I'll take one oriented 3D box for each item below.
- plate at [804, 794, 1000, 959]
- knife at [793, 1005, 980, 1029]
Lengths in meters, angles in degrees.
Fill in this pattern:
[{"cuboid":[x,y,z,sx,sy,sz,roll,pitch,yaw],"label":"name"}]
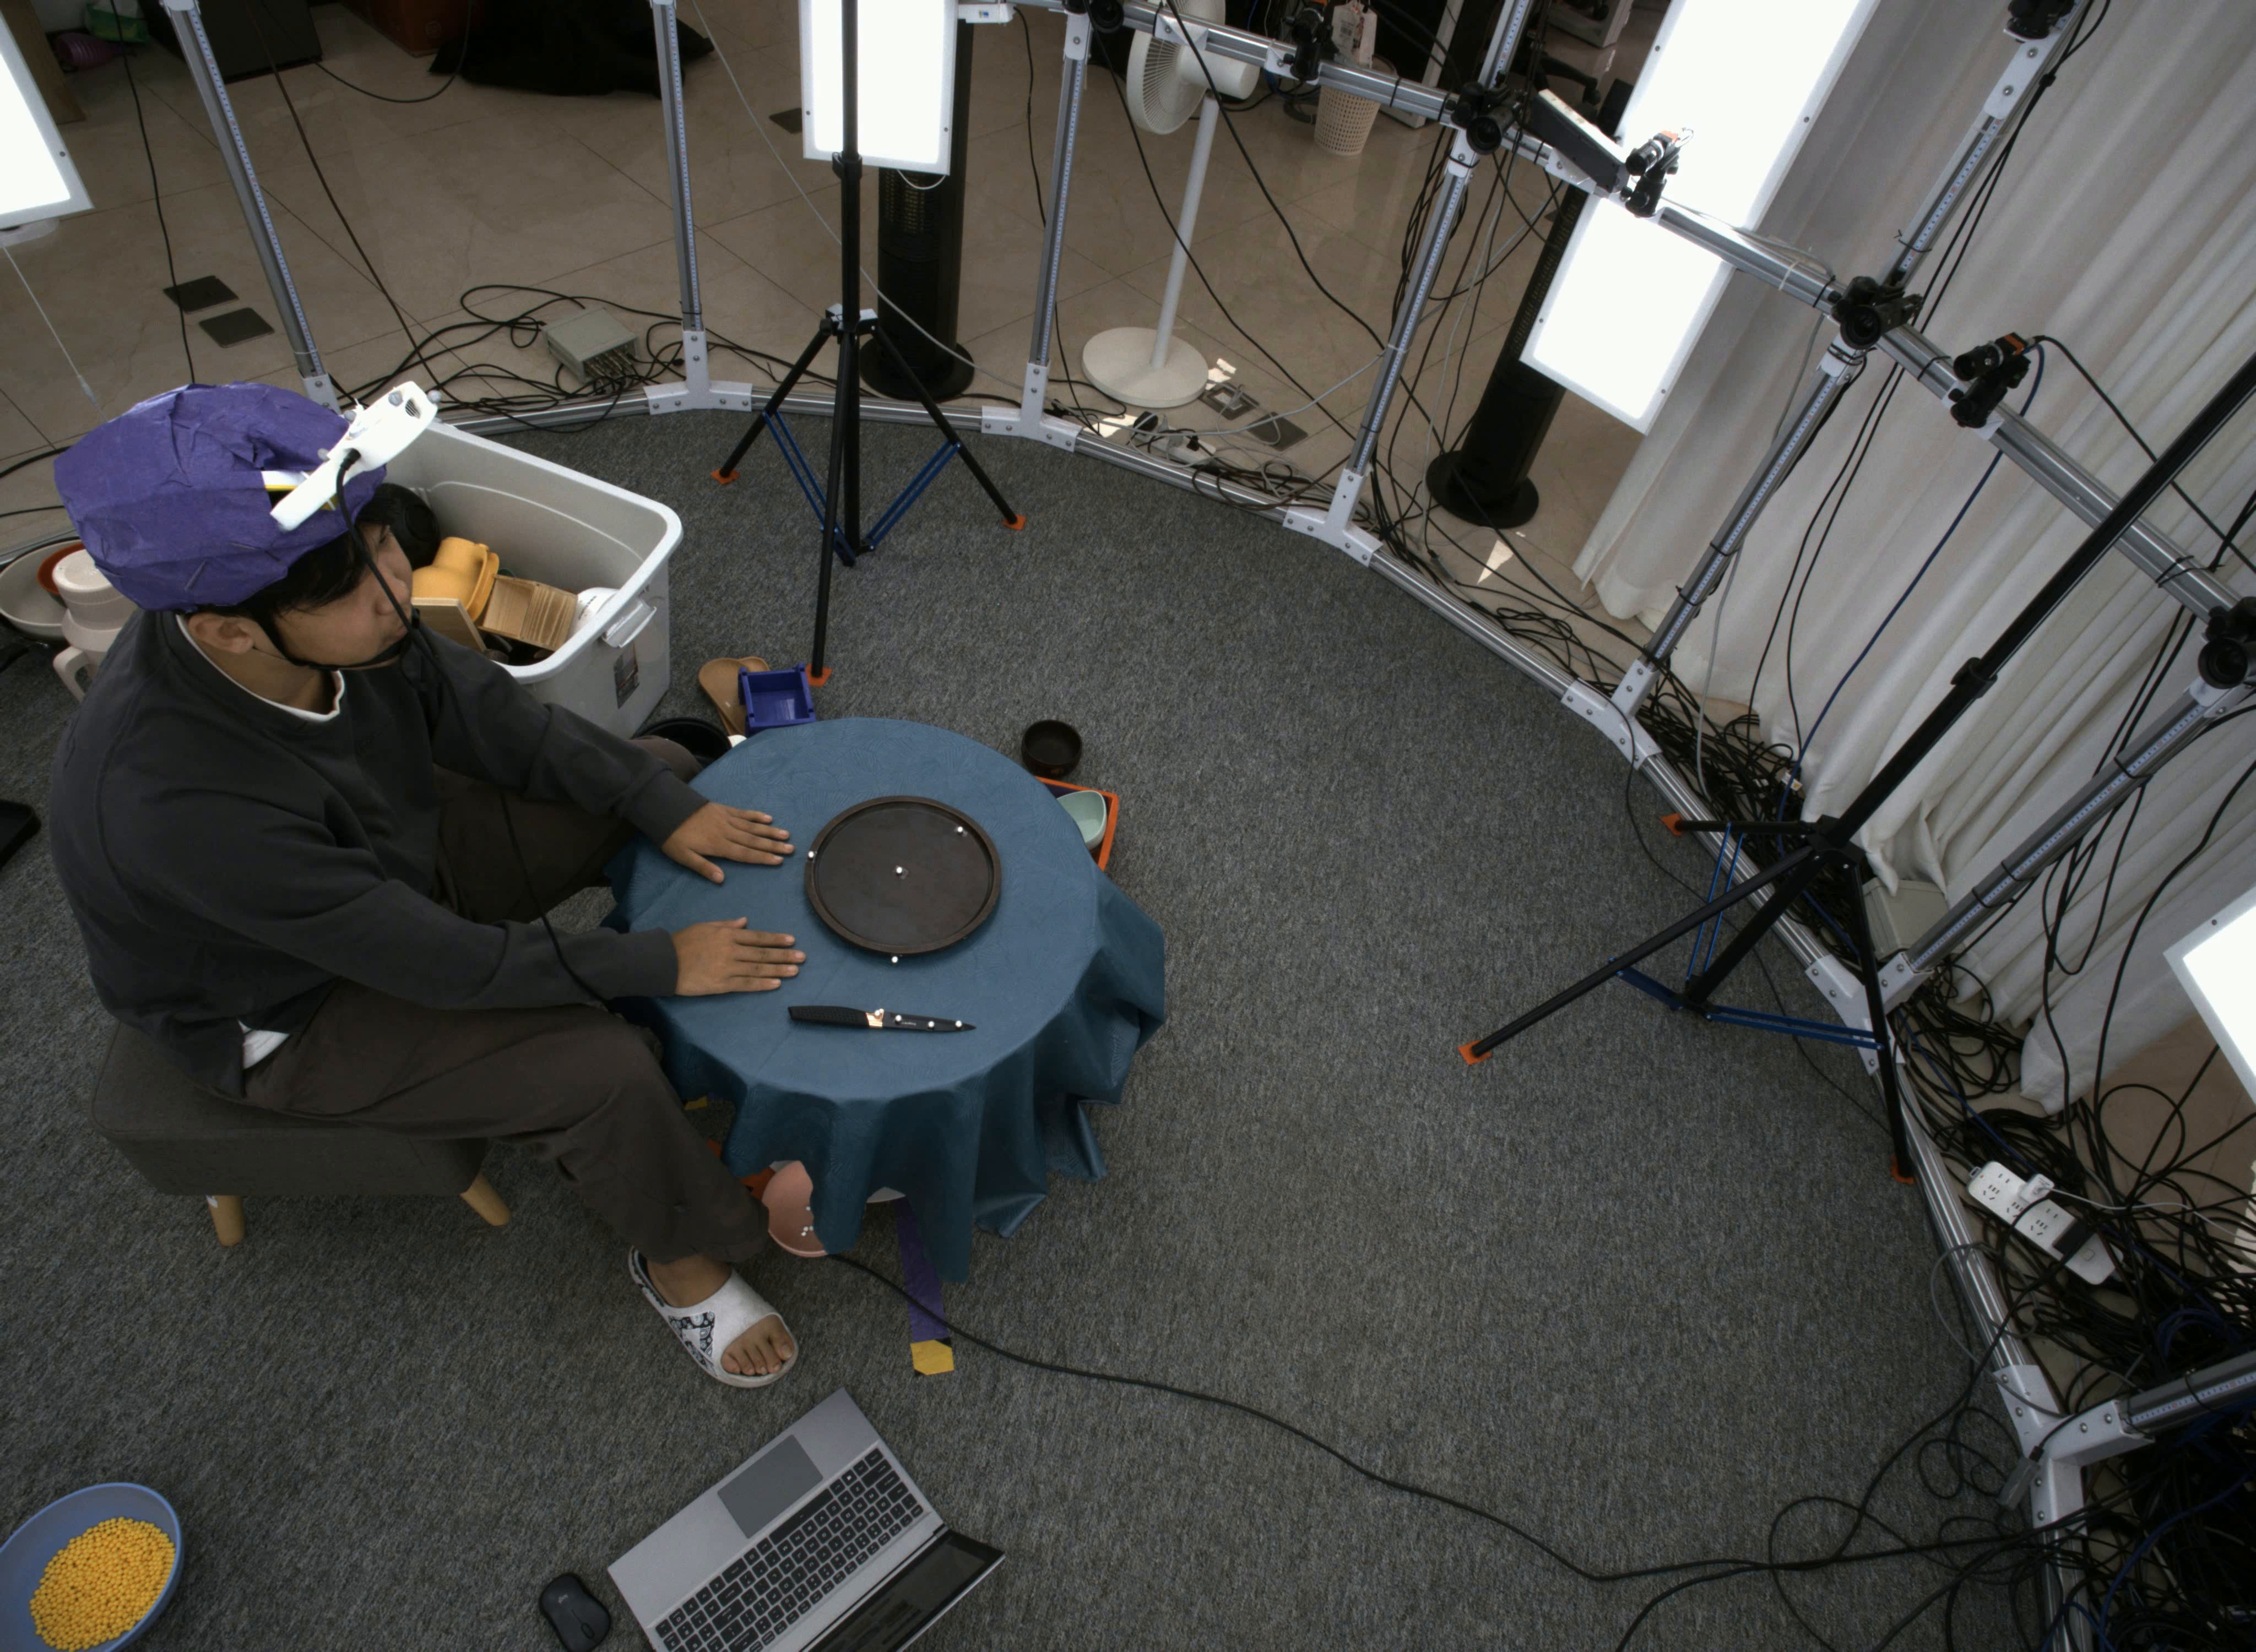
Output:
[{"cuboid":[-0.292,0.063,1.691,0.254,0.029,0.250,7,54,-8],"label":"plate"},{"cuboid":[-0.291,0.230,1.574,0.225,0.017,0.025,5,47,-11],"label":"knife"}]
